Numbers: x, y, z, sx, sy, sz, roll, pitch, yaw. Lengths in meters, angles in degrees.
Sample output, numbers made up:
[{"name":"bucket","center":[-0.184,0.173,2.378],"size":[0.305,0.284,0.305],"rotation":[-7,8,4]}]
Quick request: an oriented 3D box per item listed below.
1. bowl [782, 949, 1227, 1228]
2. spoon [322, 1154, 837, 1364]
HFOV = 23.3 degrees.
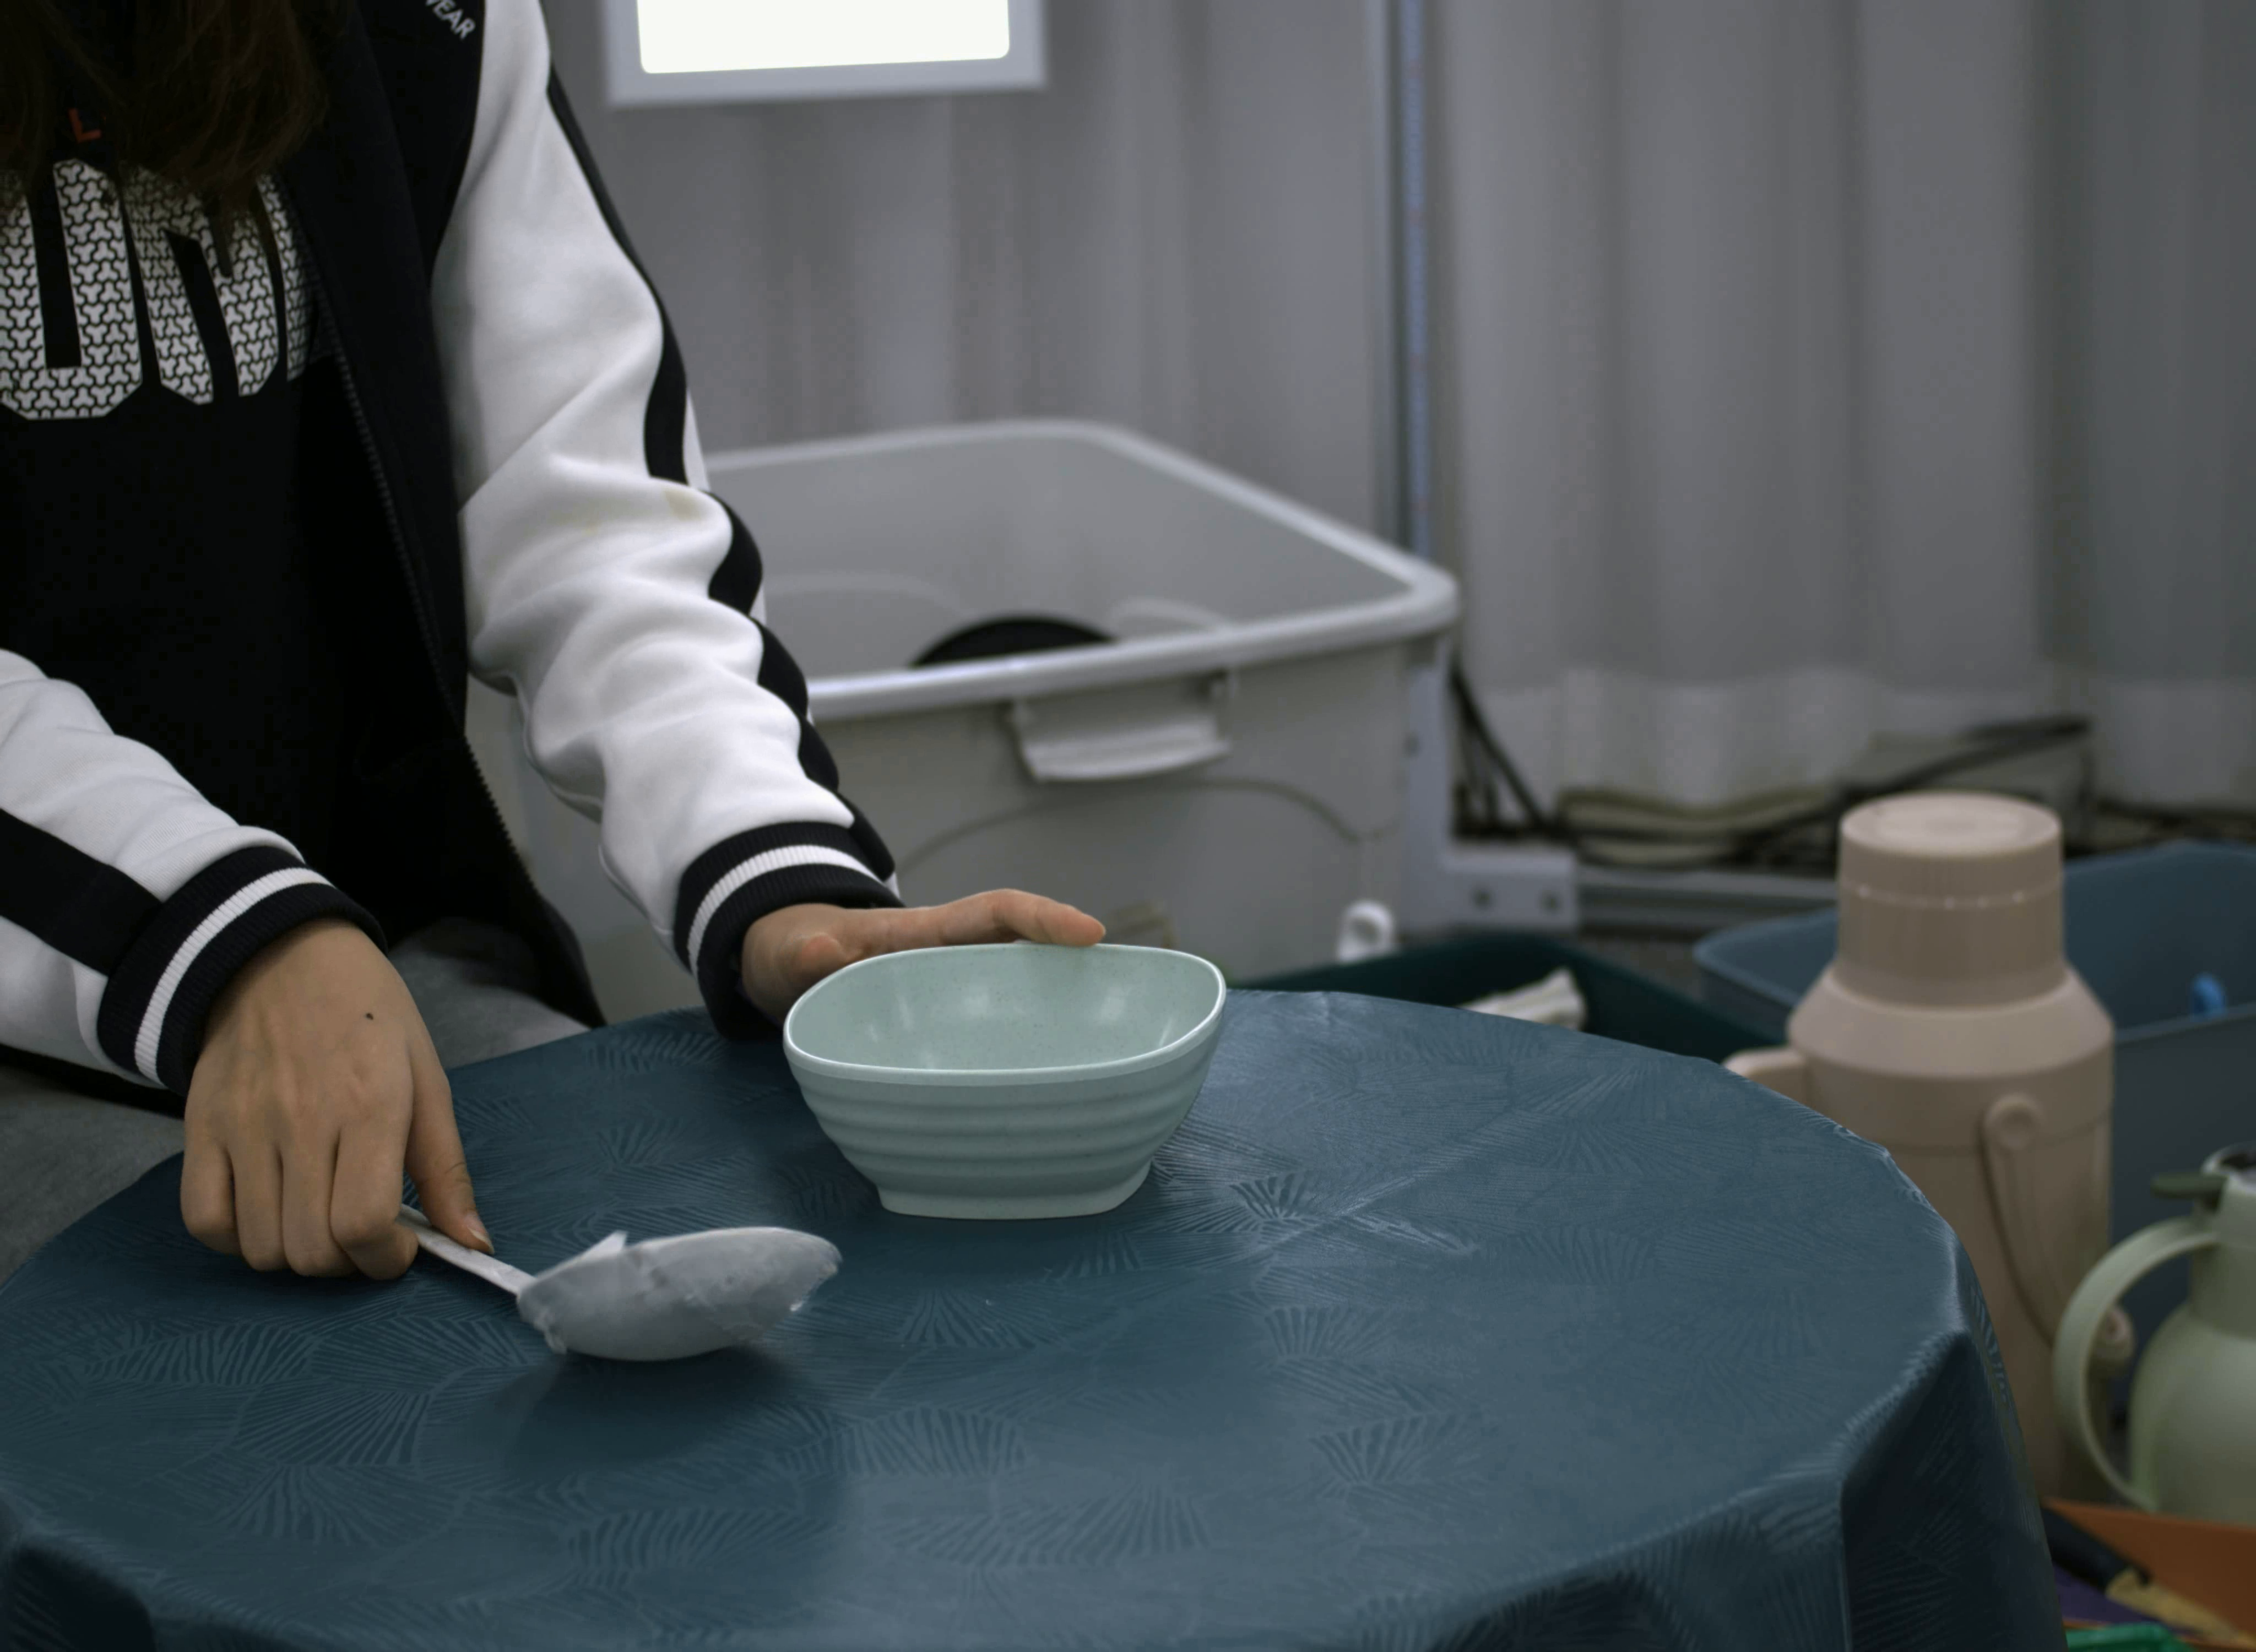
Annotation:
[{"name":"bowl","center":[-0.037,0.086,1.727],"size":[0.151,0.058,0.152],"rotation":[-3,15,0]},{"name":"spoon","center":[-0.177,0.112,1.650],"size":[0.100,0.059,0.279],"rotation":[6,8,-32]}]
